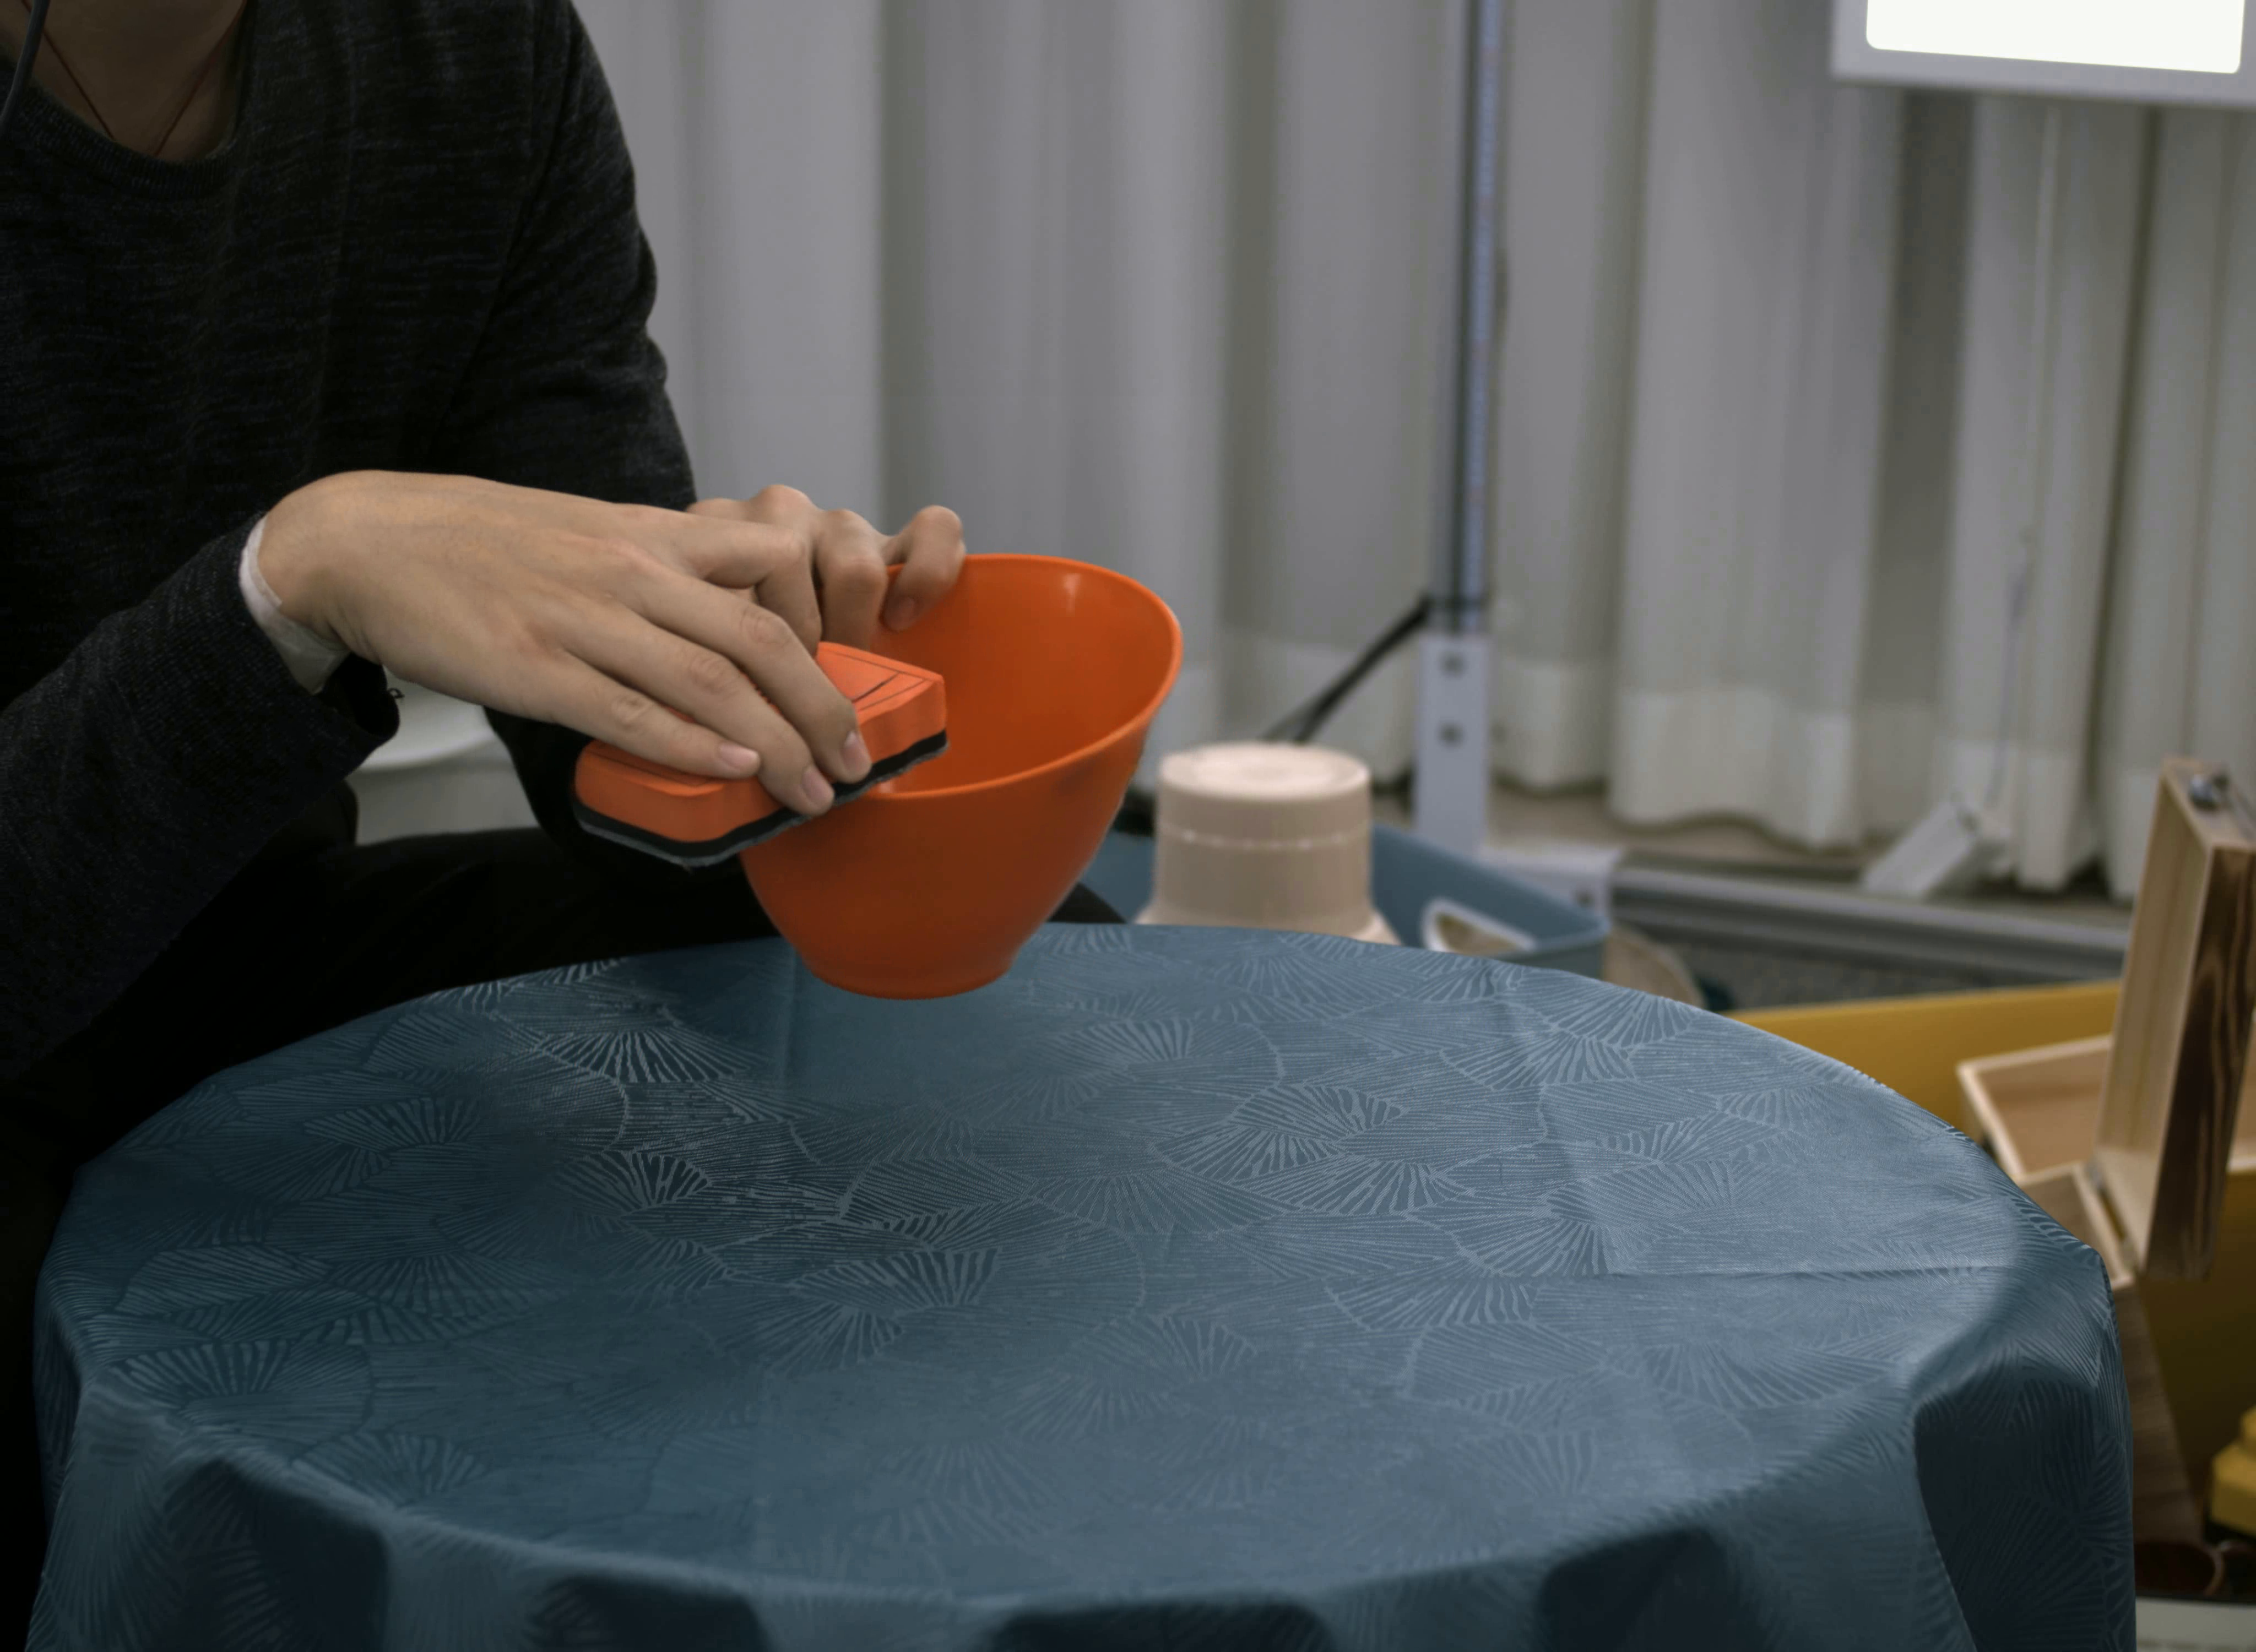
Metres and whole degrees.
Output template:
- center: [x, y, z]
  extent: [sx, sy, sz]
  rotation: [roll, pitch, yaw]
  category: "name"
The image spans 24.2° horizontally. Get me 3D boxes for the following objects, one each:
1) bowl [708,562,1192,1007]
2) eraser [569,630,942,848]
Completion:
- center: [-0.055, -0.008, 1.593]
  extent: [0.147, 0.106, 0.147]
  rotation: [2, 25, 0]
  category: "bowl"
- center: [-0.107, -0.026, 1.521]
  extent: [0.058, 0.023, 0.108]
  rotation: [19, 31, 37]
  category: "eraser"
